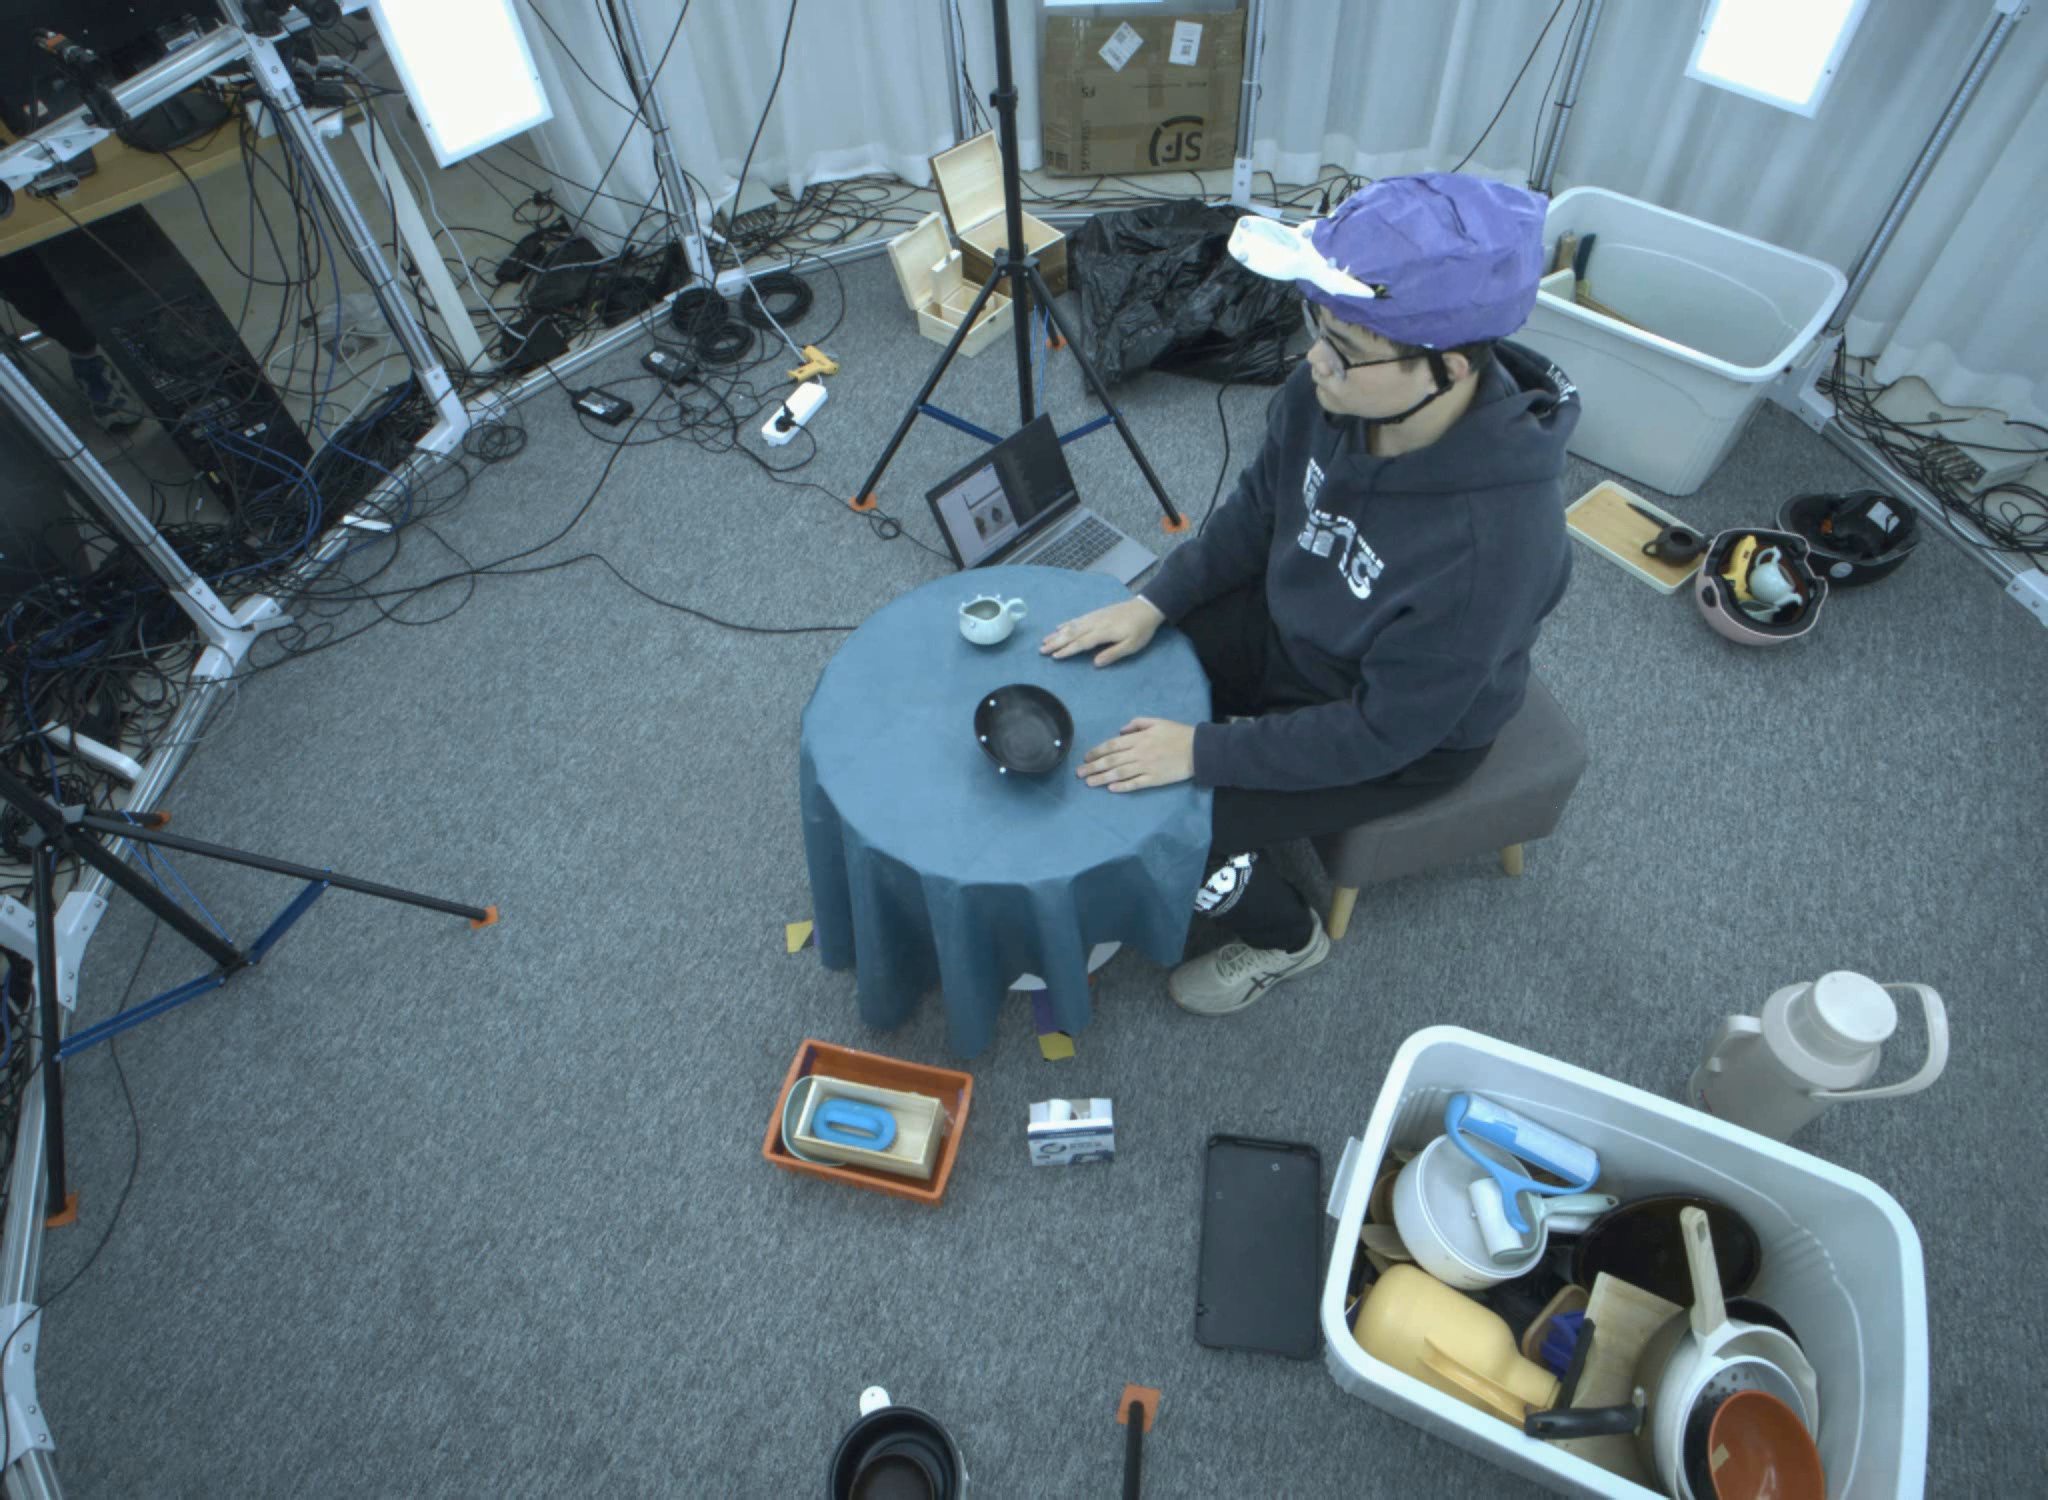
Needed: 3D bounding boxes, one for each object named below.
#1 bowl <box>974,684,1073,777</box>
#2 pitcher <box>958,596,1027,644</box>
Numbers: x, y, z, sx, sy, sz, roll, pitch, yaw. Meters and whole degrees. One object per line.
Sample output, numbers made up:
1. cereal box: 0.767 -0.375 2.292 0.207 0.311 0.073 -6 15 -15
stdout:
1. bowl: -0.002 -0.019 1.763 0.138 0.067 0.167 -20 56 -13
2. pitcher: -0.050 -0.206 1.900 0.108 0.061 0.085 -9 56 -7
